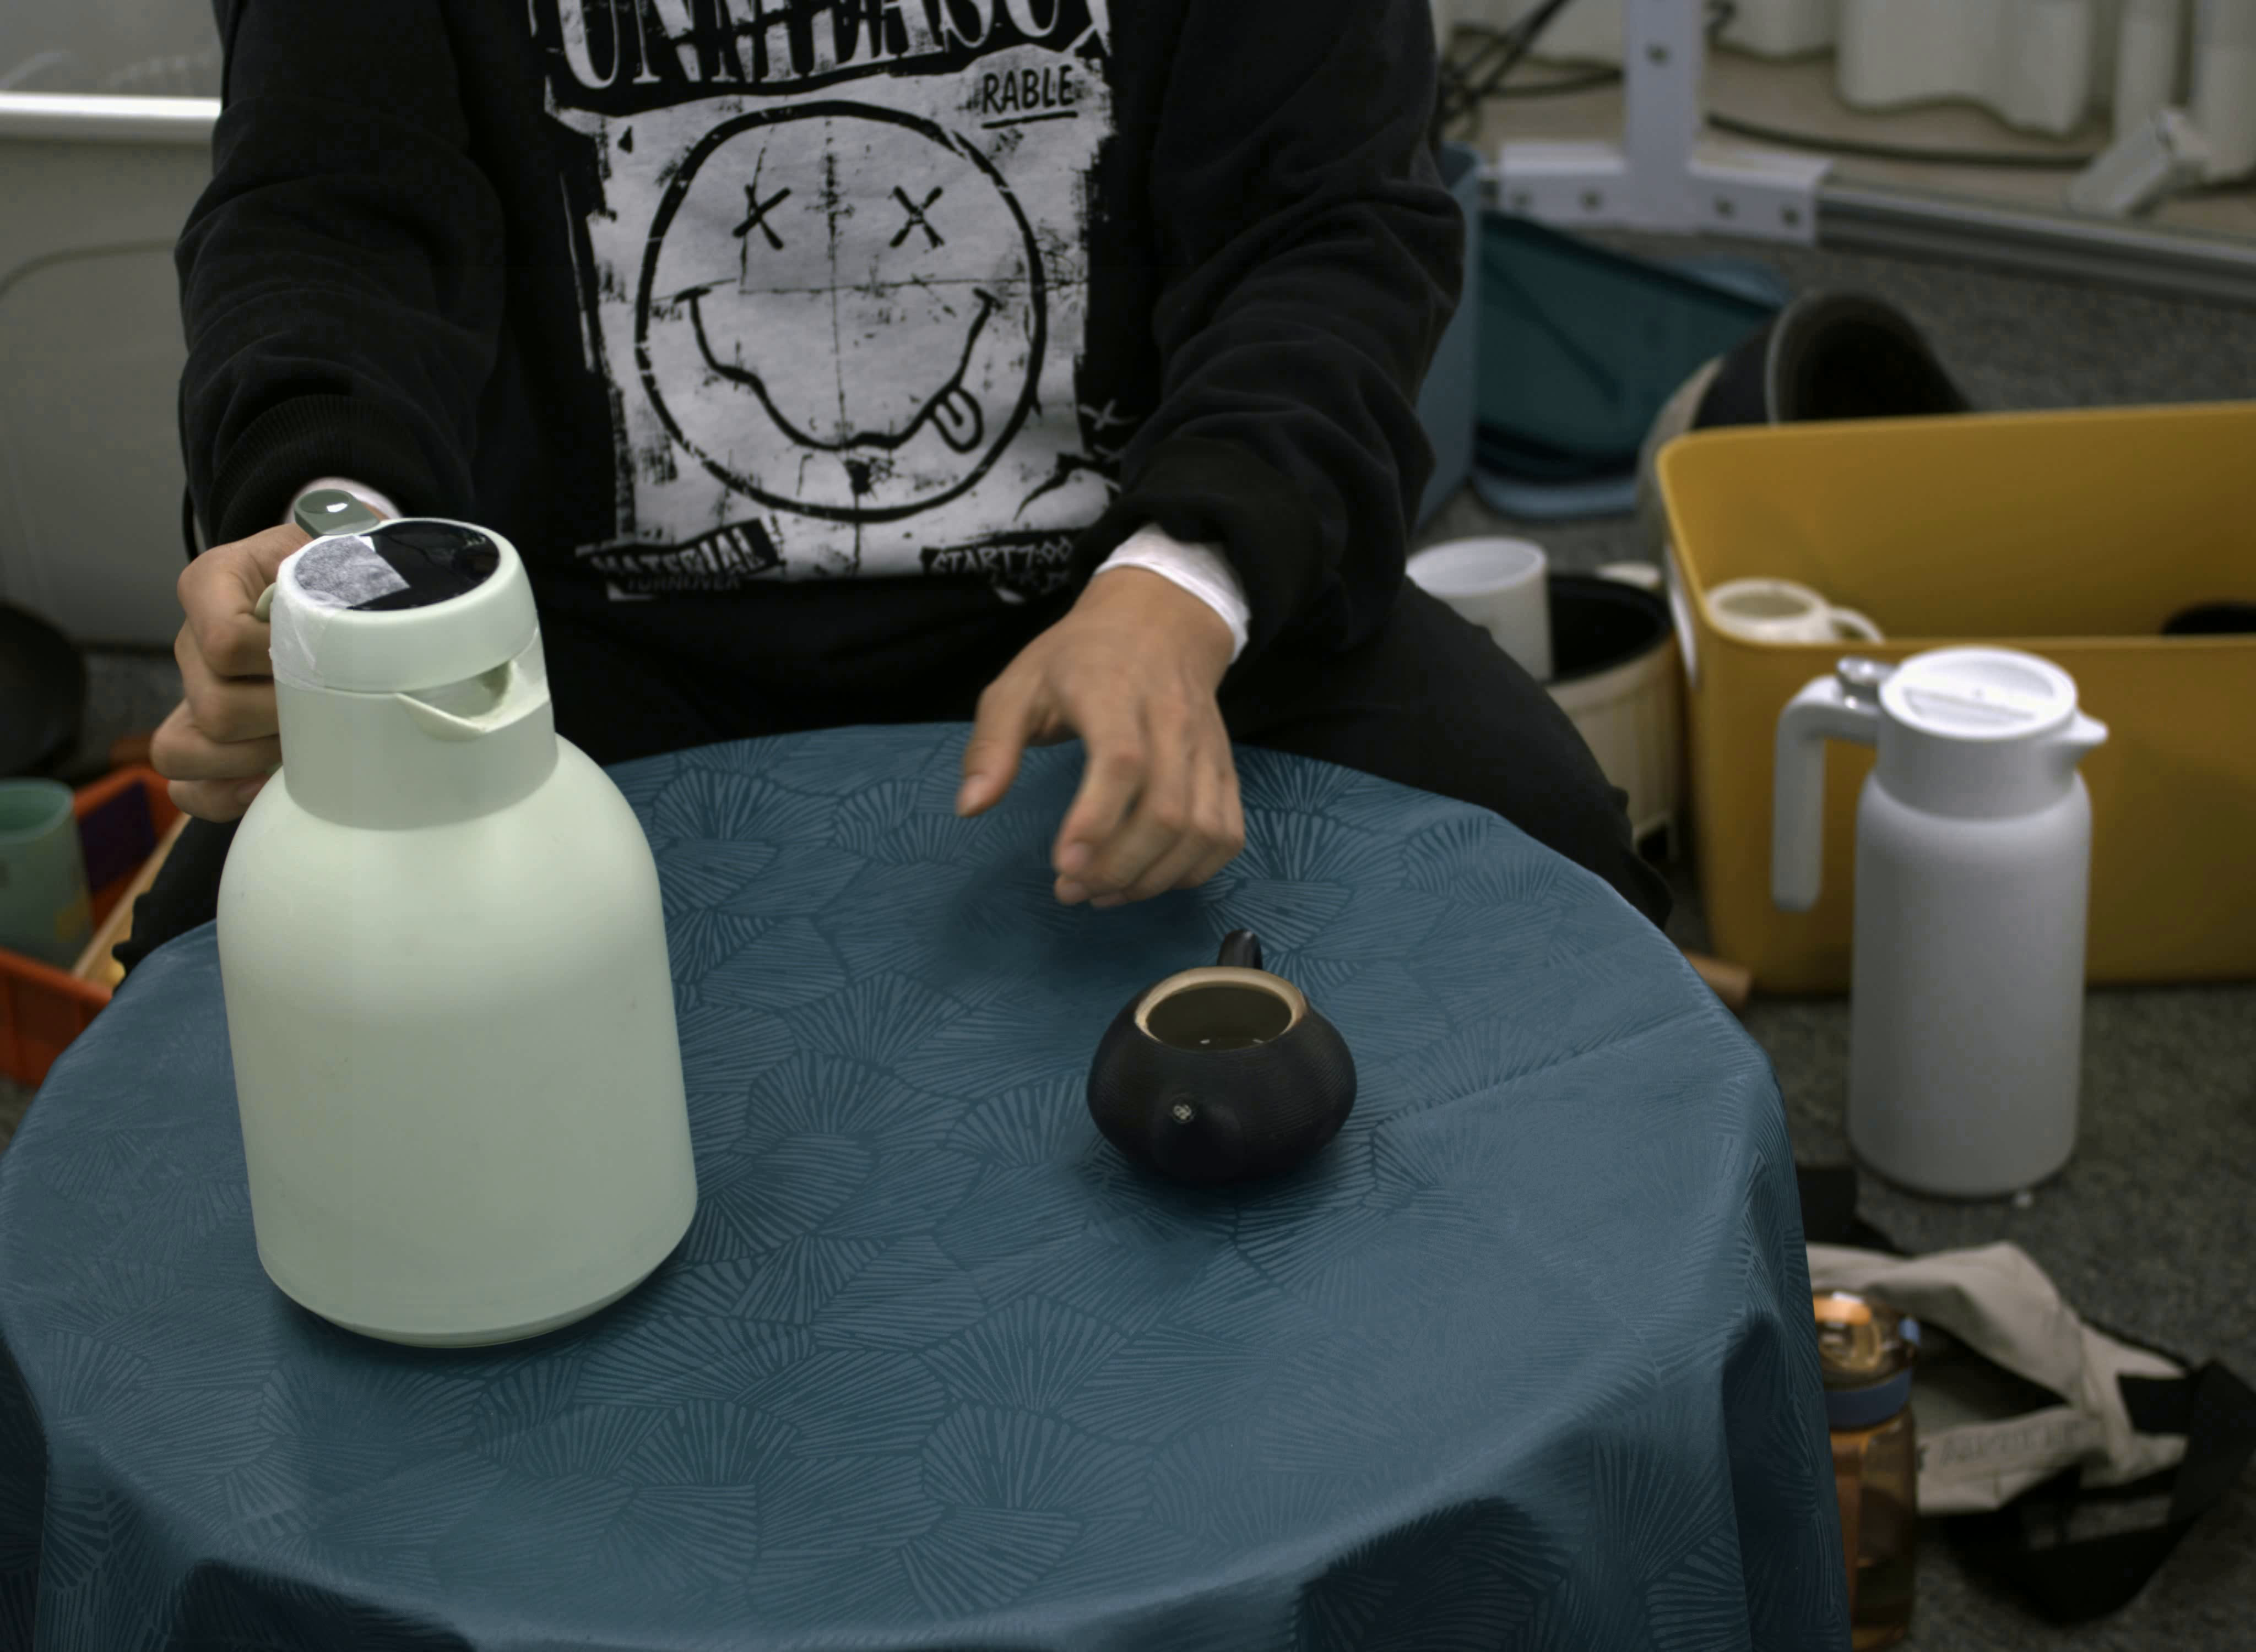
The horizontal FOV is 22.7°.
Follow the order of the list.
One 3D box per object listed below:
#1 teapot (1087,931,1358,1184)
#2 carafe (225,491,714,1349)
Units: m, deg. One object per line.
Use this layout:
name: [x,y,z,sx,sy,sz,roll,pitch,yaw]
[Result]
teapot: [0.031,0.083,1.873,0.090,0.052,0.135,4,28,9]
carafe: [-0.224,0.024,1.802,0.145,0.254,0.187,-19,27,-26]
